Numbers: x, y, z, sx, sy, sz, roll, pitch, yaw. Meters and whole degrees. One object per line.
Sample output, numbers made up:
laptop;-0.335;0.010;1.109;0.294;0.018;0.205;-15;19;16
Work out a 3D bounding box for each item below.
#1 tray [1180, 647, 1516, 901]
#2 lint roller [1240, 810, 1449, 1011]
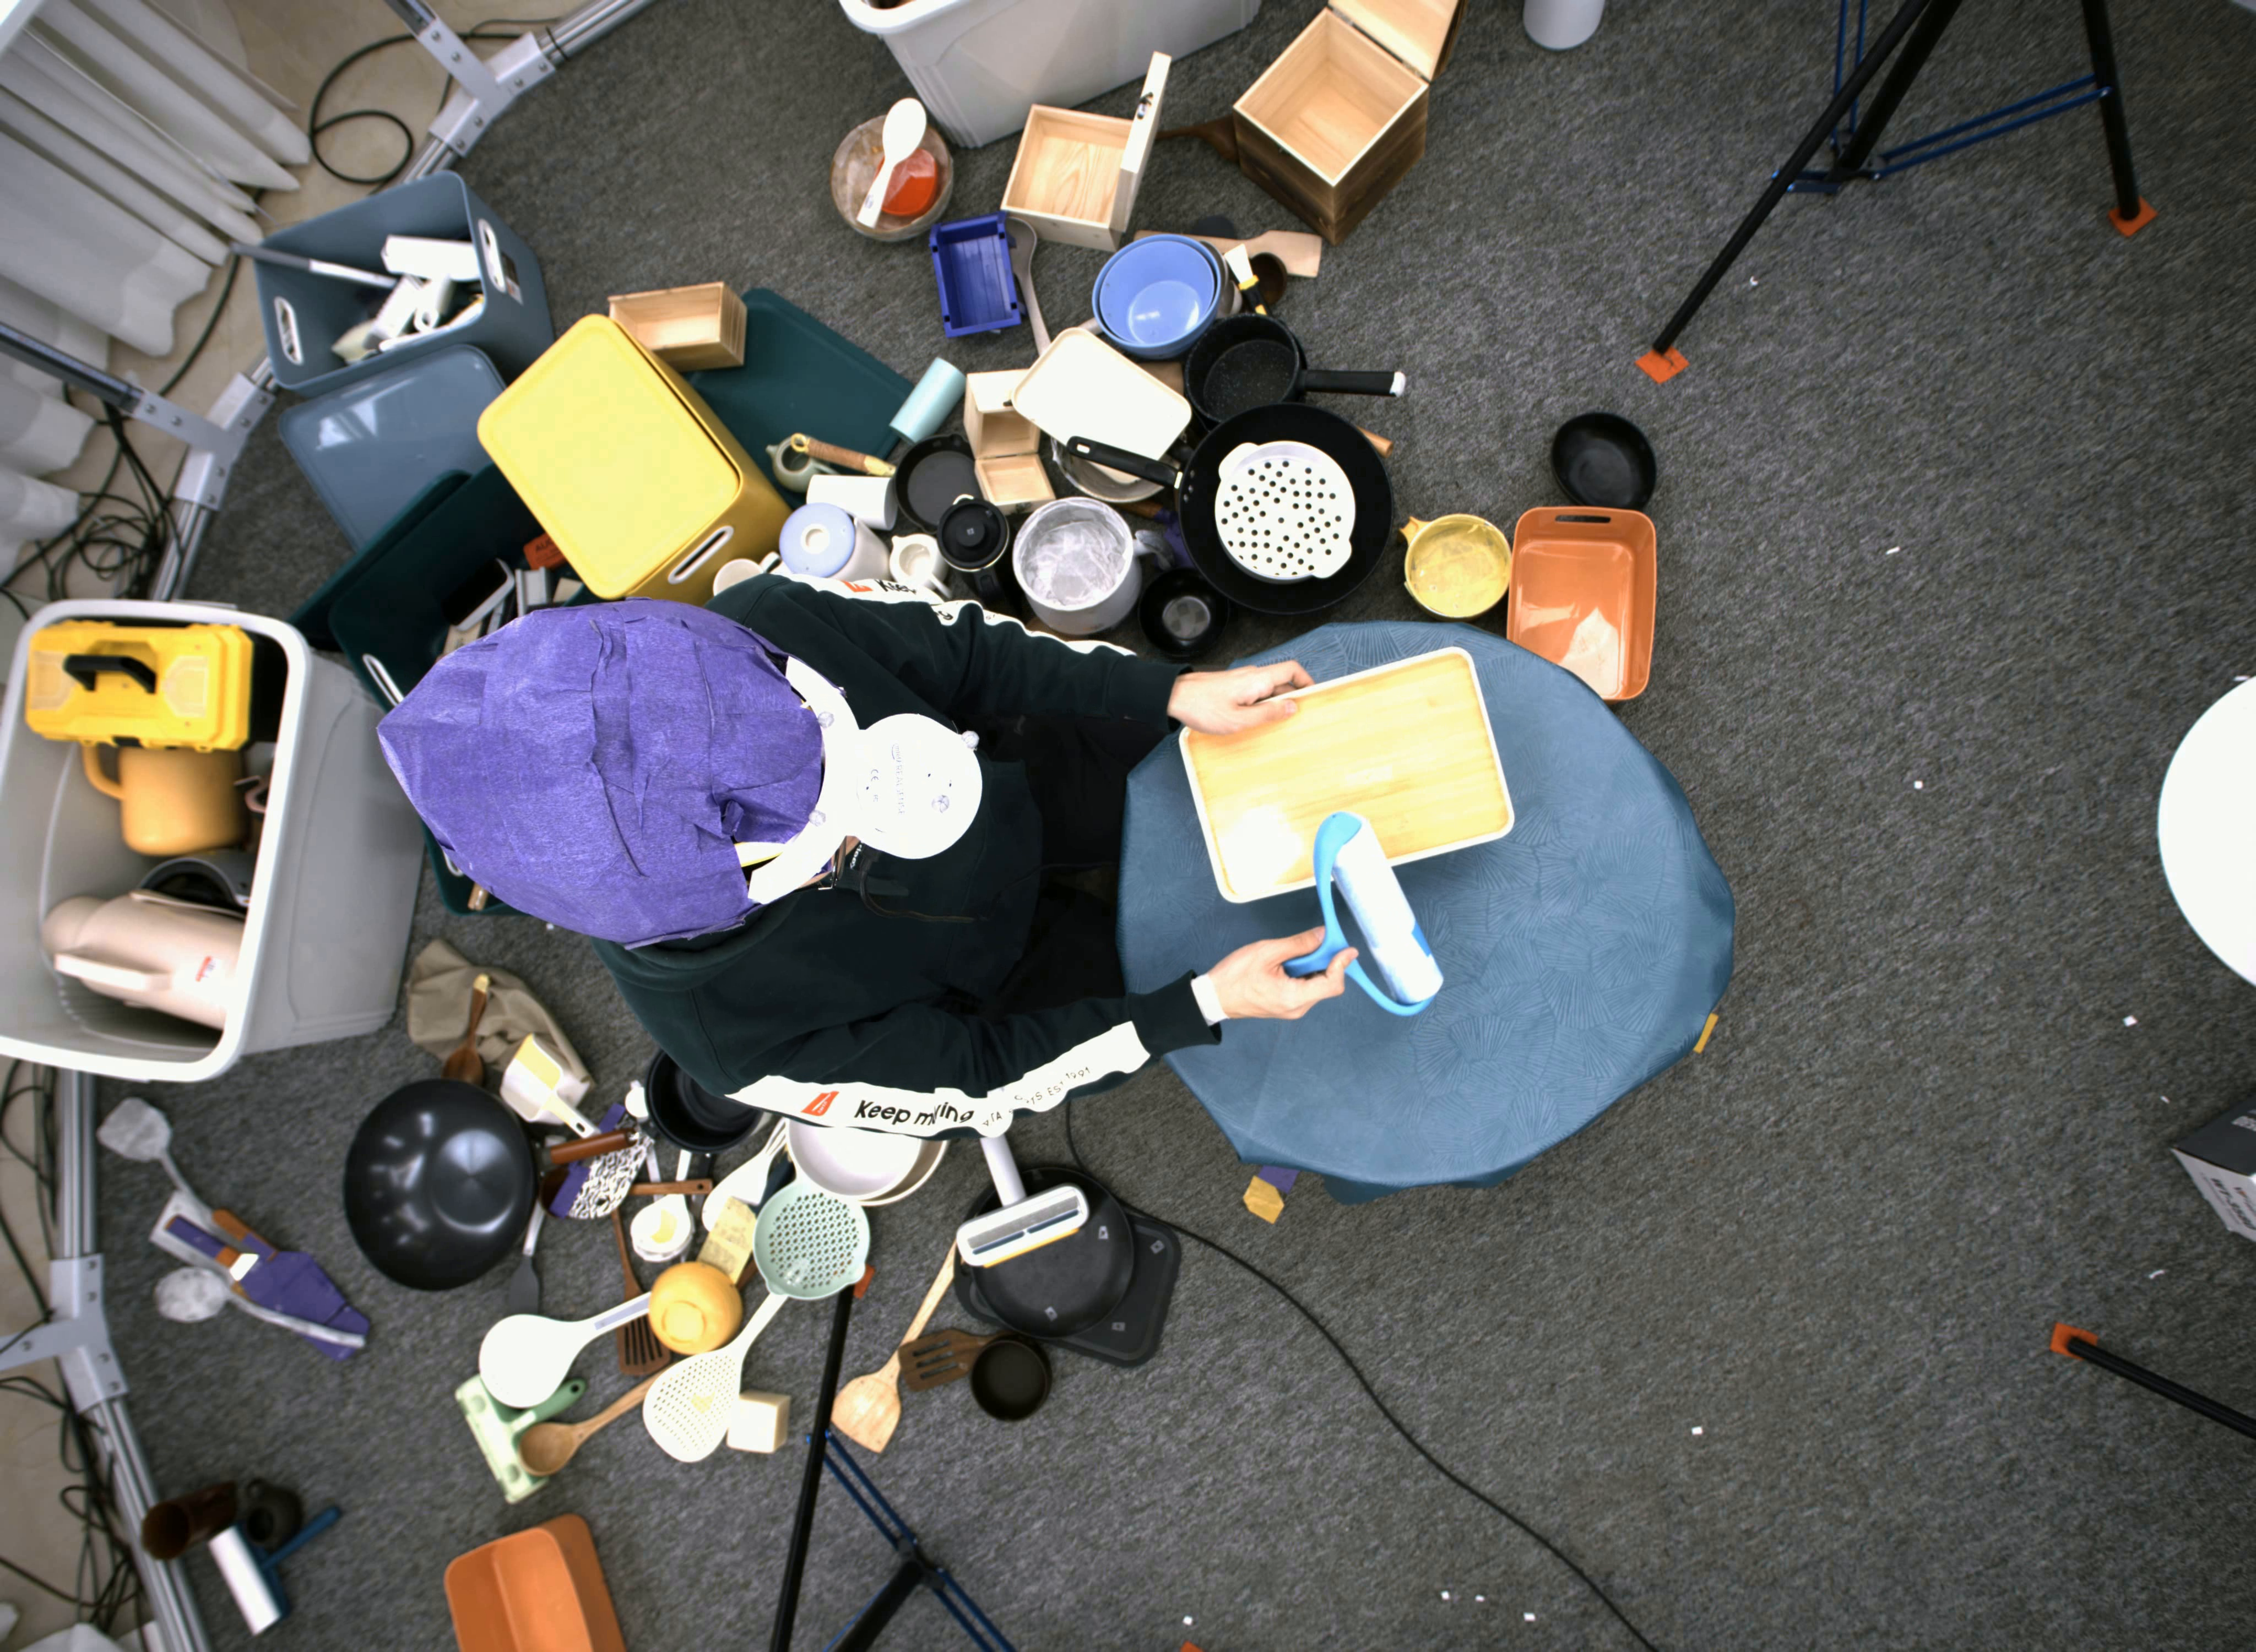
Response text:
tray;0.214;-0.050;1.363;0.303;0.027;0.191;-15;92;16
lint roller;0.194;0.110;1.324;0.181;0.066;0.232;-32;117;6
